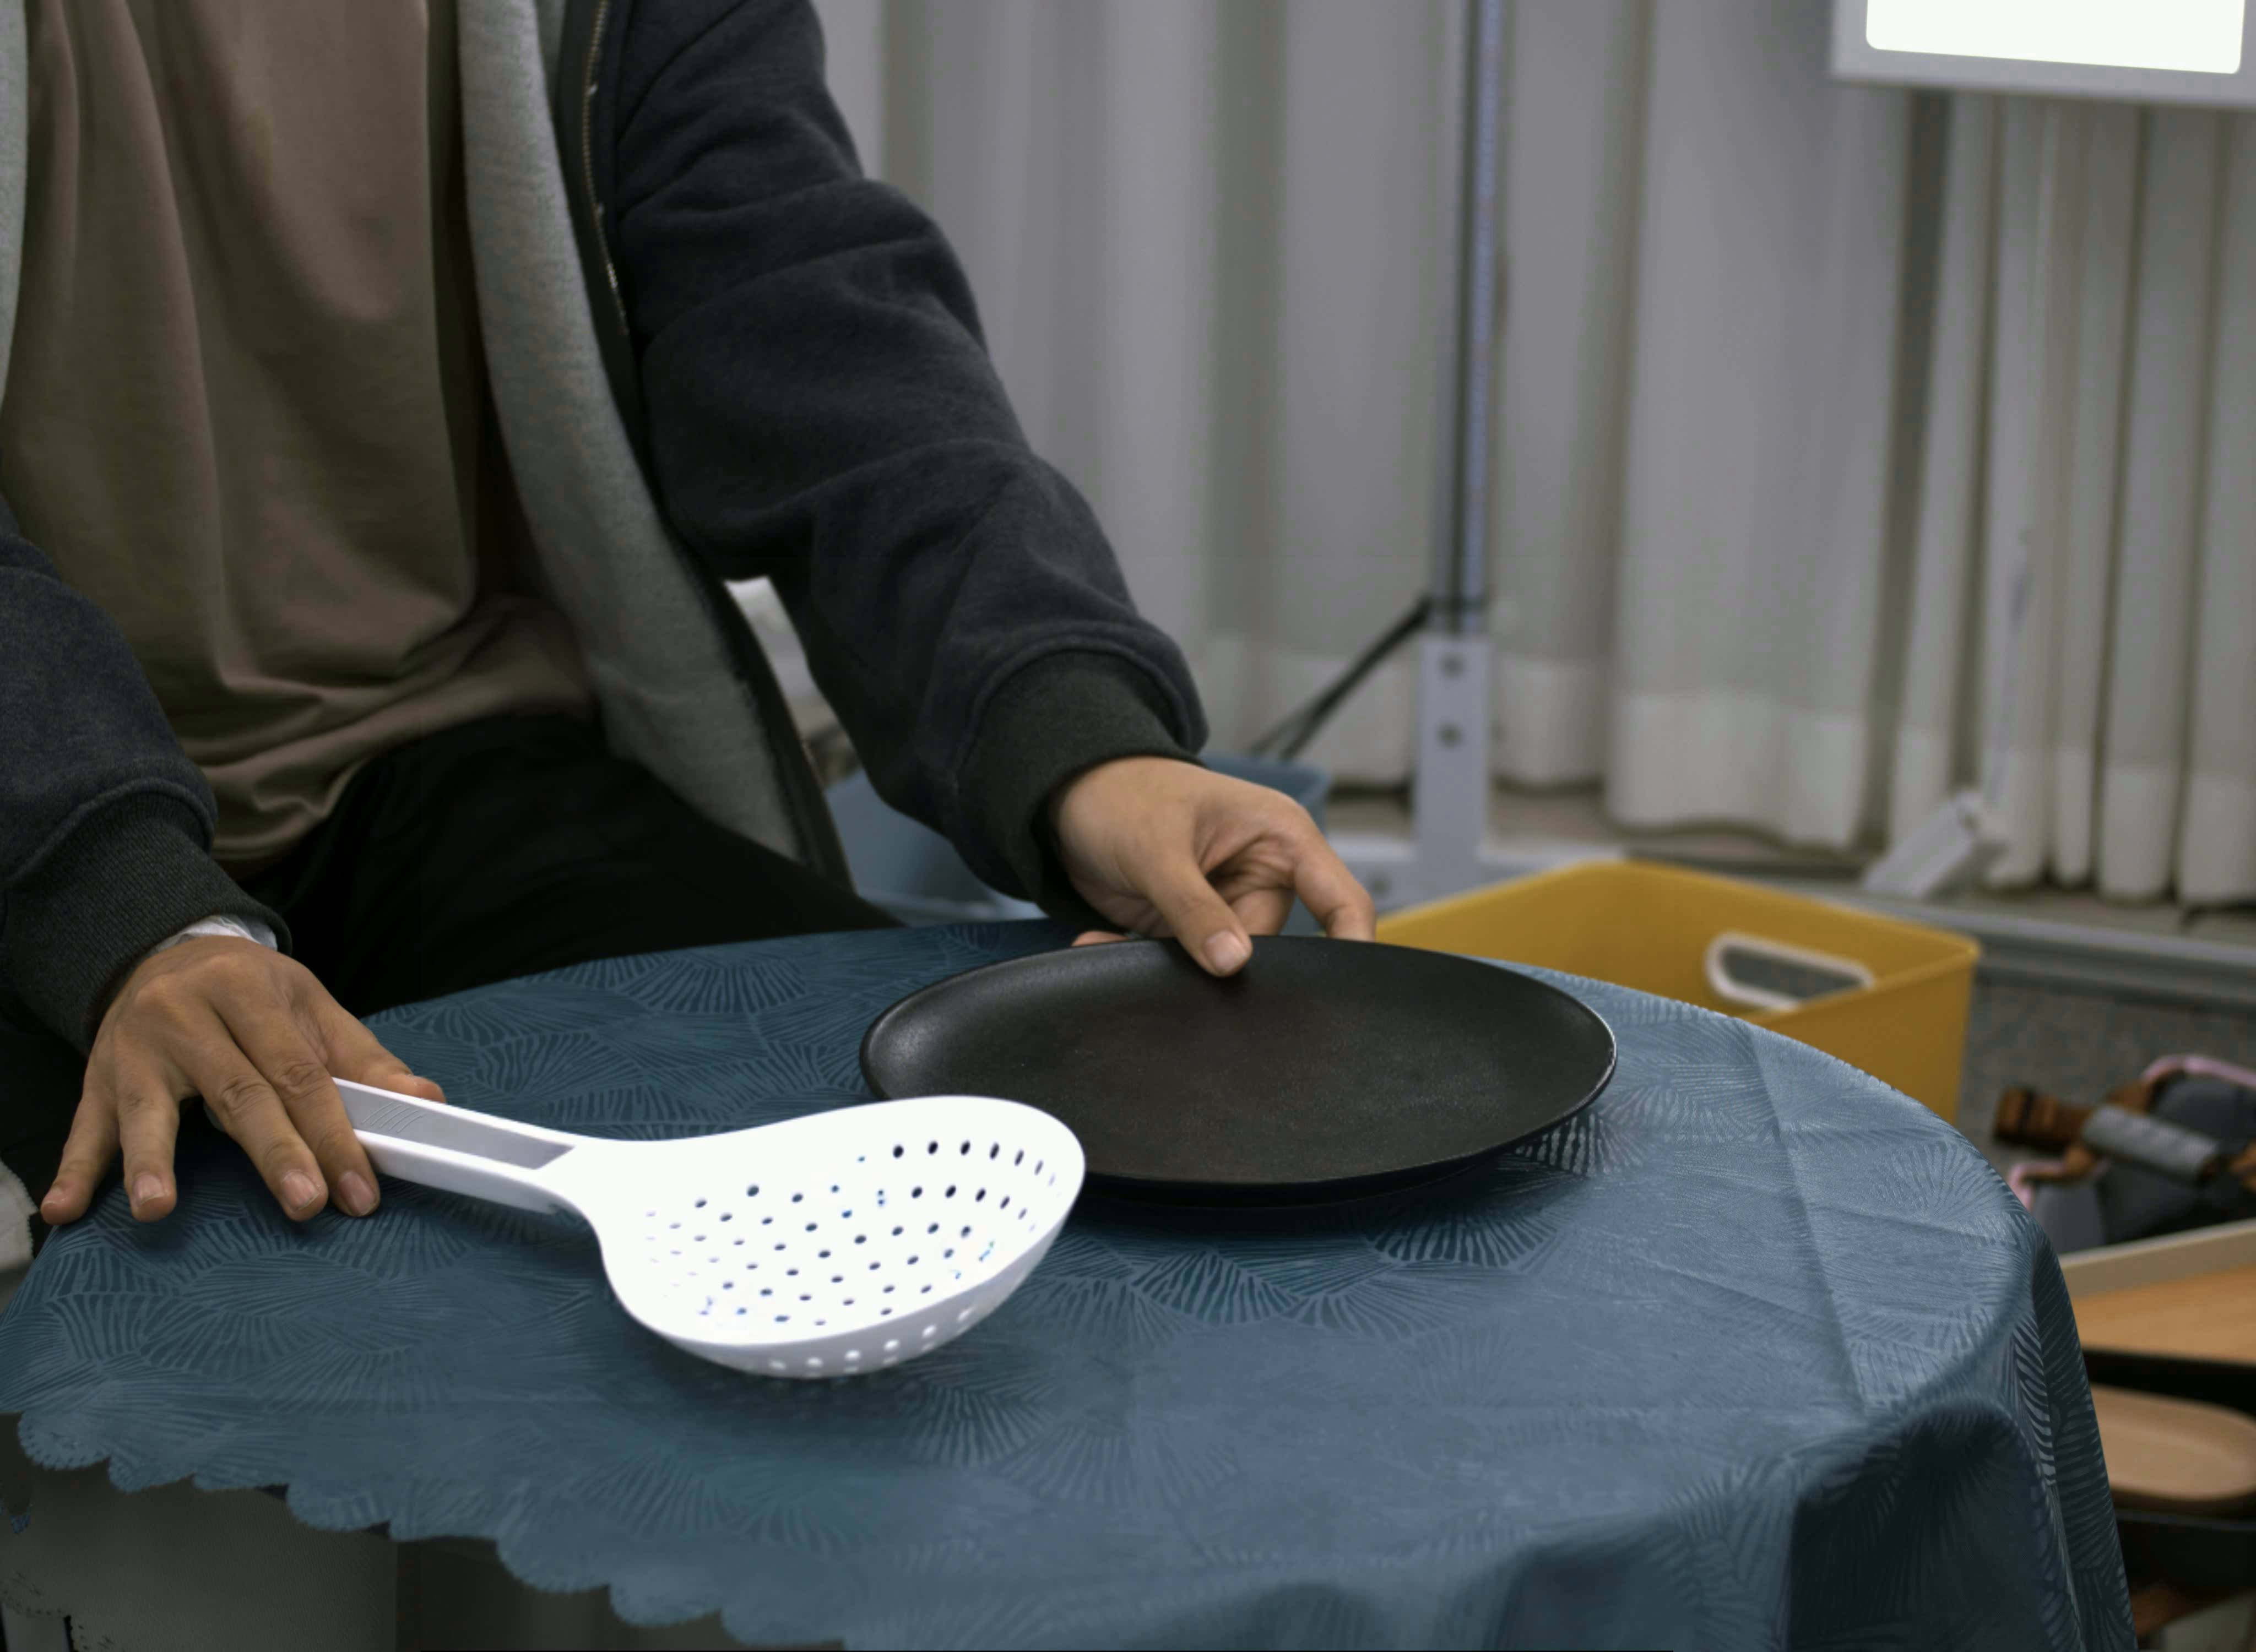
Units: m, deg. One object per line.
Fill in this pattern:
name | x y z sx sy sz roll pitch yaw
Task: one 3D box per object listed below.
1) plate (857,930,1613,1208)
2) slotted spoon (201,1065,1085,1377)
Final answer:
plate | 0.034 0.080 1.688 0.243 0.023 0.243 0 17 1
slotted spoon | -0.156 0.105 1.549 0.345 0.046 0.136 13 33 39
